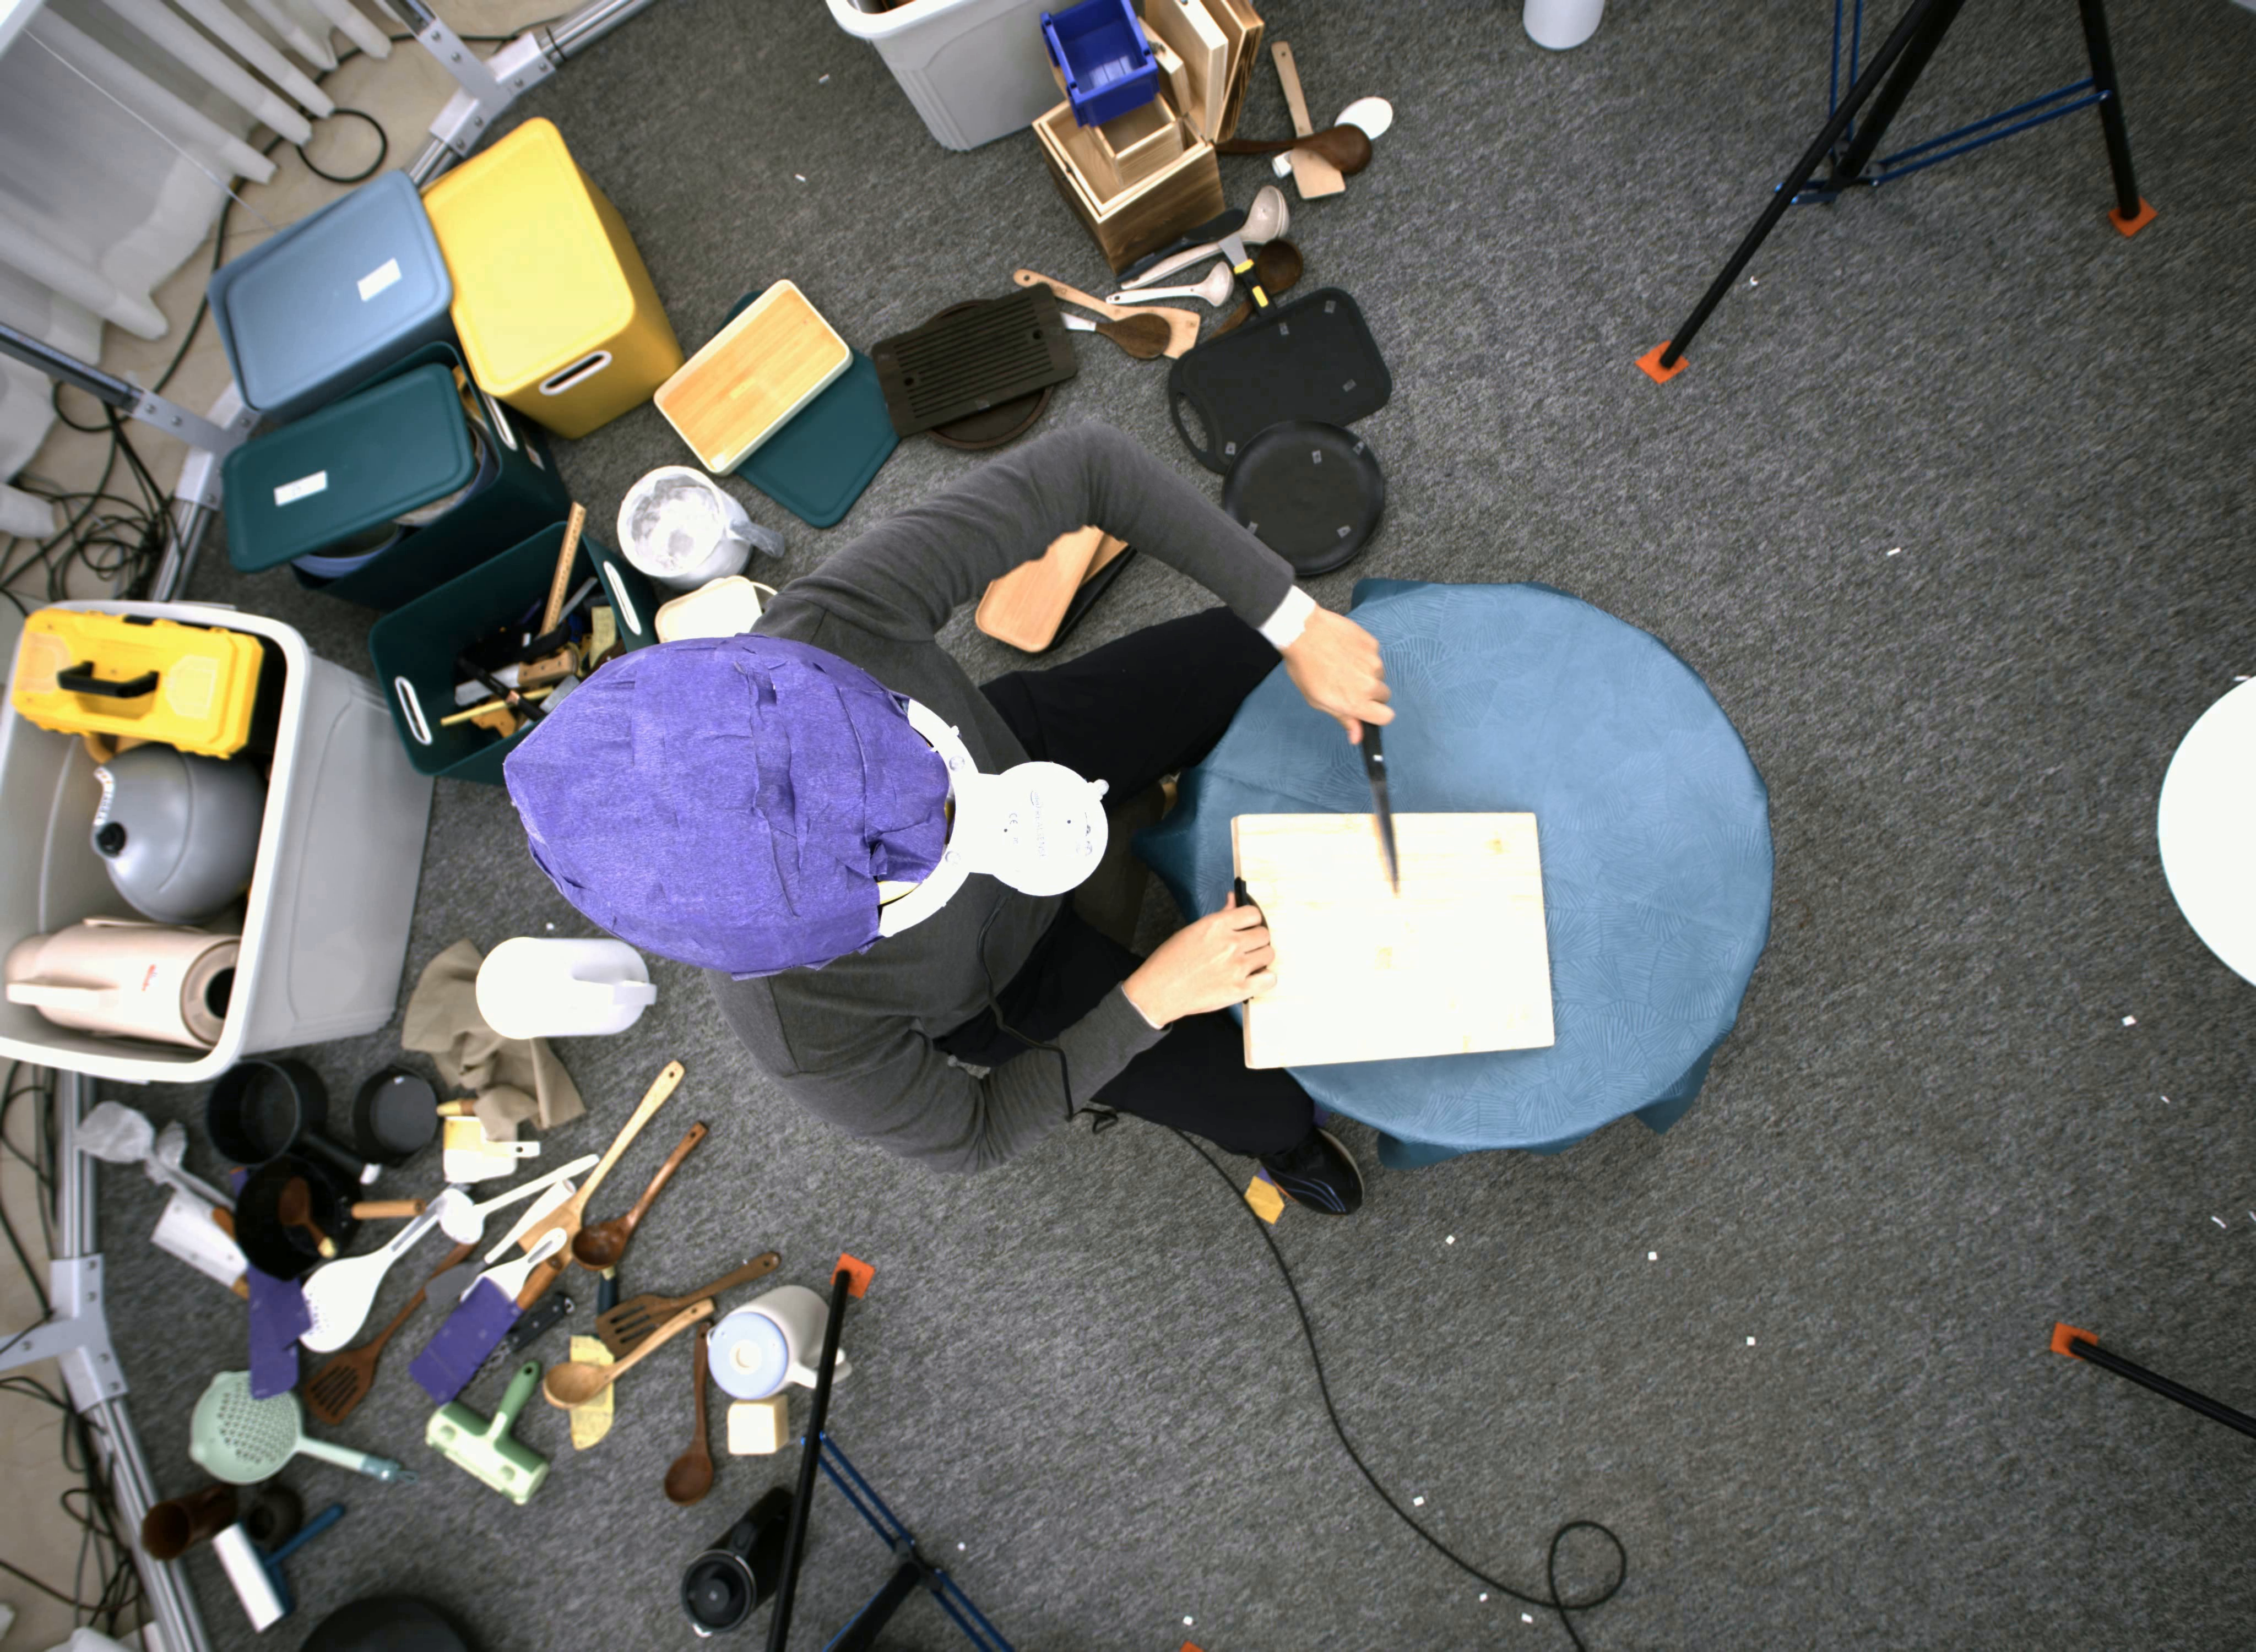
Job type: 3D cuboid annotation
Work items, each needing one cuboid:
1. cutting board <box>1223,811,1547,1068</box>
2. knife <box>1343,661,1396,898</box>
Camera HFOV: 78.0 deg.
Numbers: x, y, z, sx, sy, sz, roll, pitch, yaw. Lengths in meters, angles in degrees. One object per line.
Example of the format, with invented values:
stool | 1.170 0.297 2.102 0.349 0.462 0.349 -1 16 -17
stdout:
cutting board | 0.261 0.105 1.365 0.347 0.024 0.249 -2 85 -19
knife | 0.239 -0.047 1.355 0.024 0.016 0.238 -10 91 -29
